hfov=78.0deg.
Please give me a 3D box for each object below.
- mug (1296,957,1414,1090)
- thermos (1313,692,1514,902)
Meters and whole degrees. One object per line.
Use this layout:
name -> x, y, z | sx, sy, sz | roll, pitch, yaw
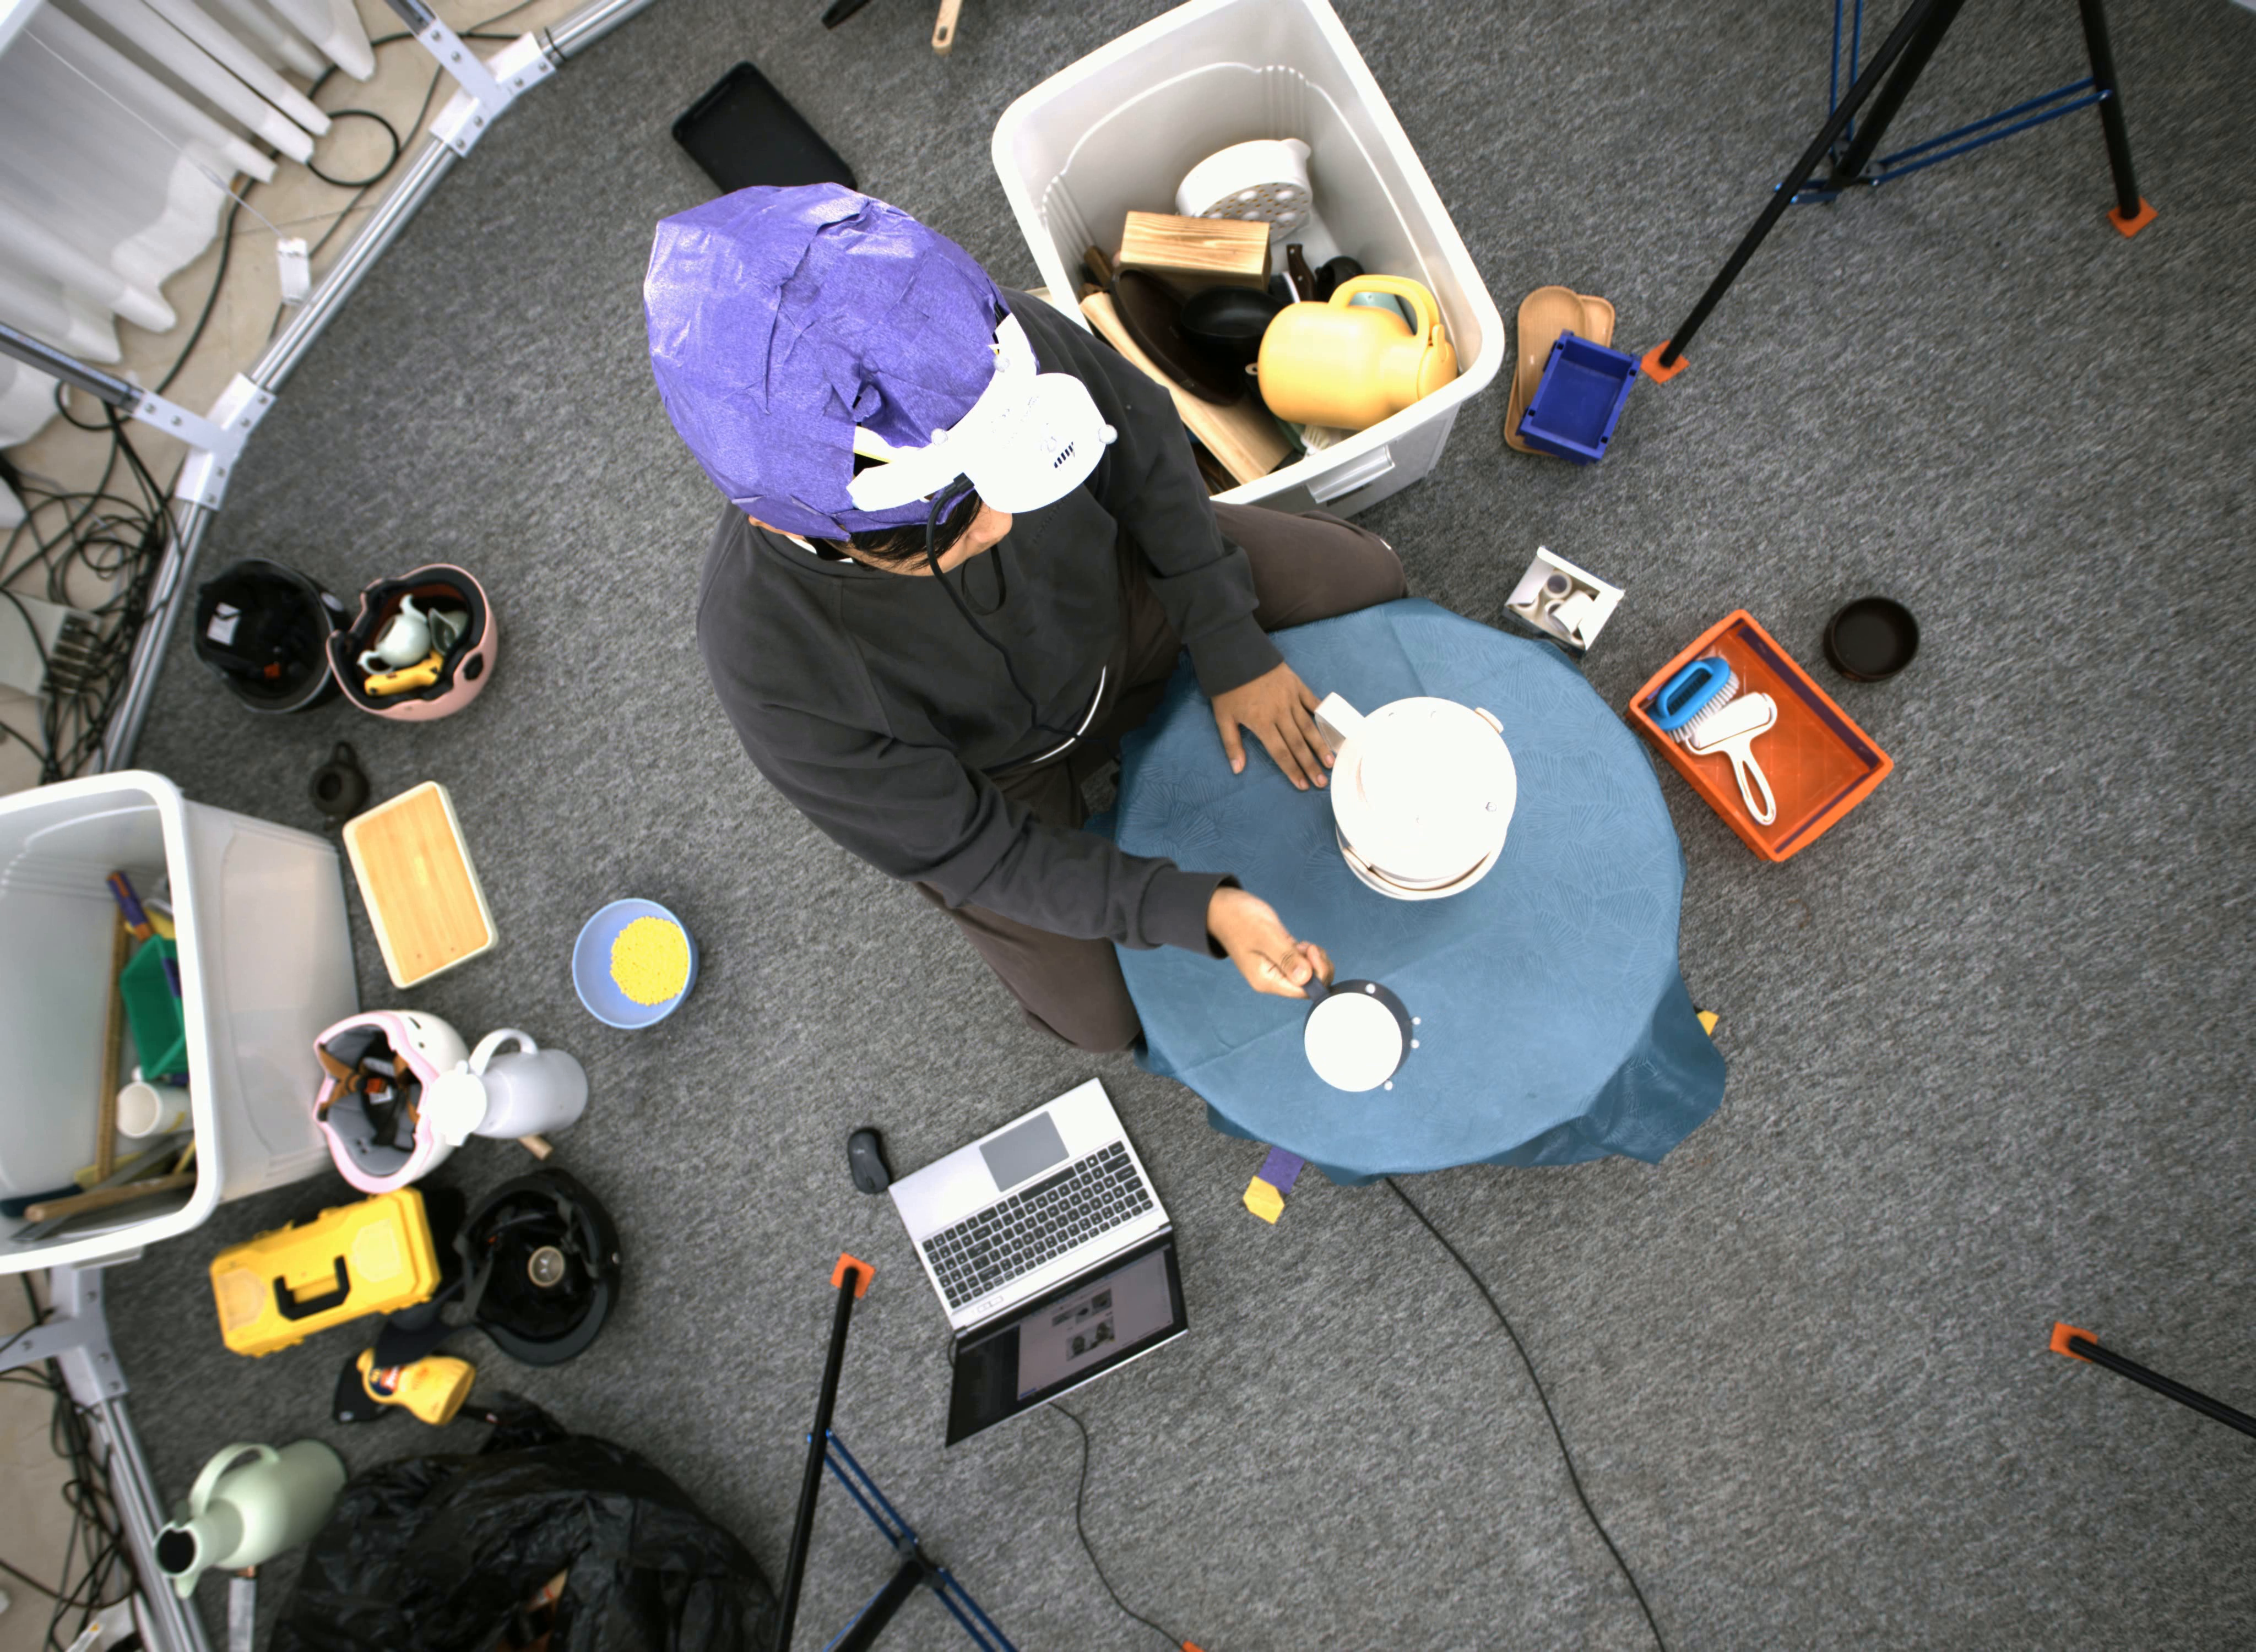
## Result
mug -> 0.184, 0.163, 1.170 | 0.094, 0.089, 0.122 | -37, 80, 12
thermos -> 0.256, -0.033, 1.268 | 0.206, 0.407, 0.176 | 43, 93, 11
